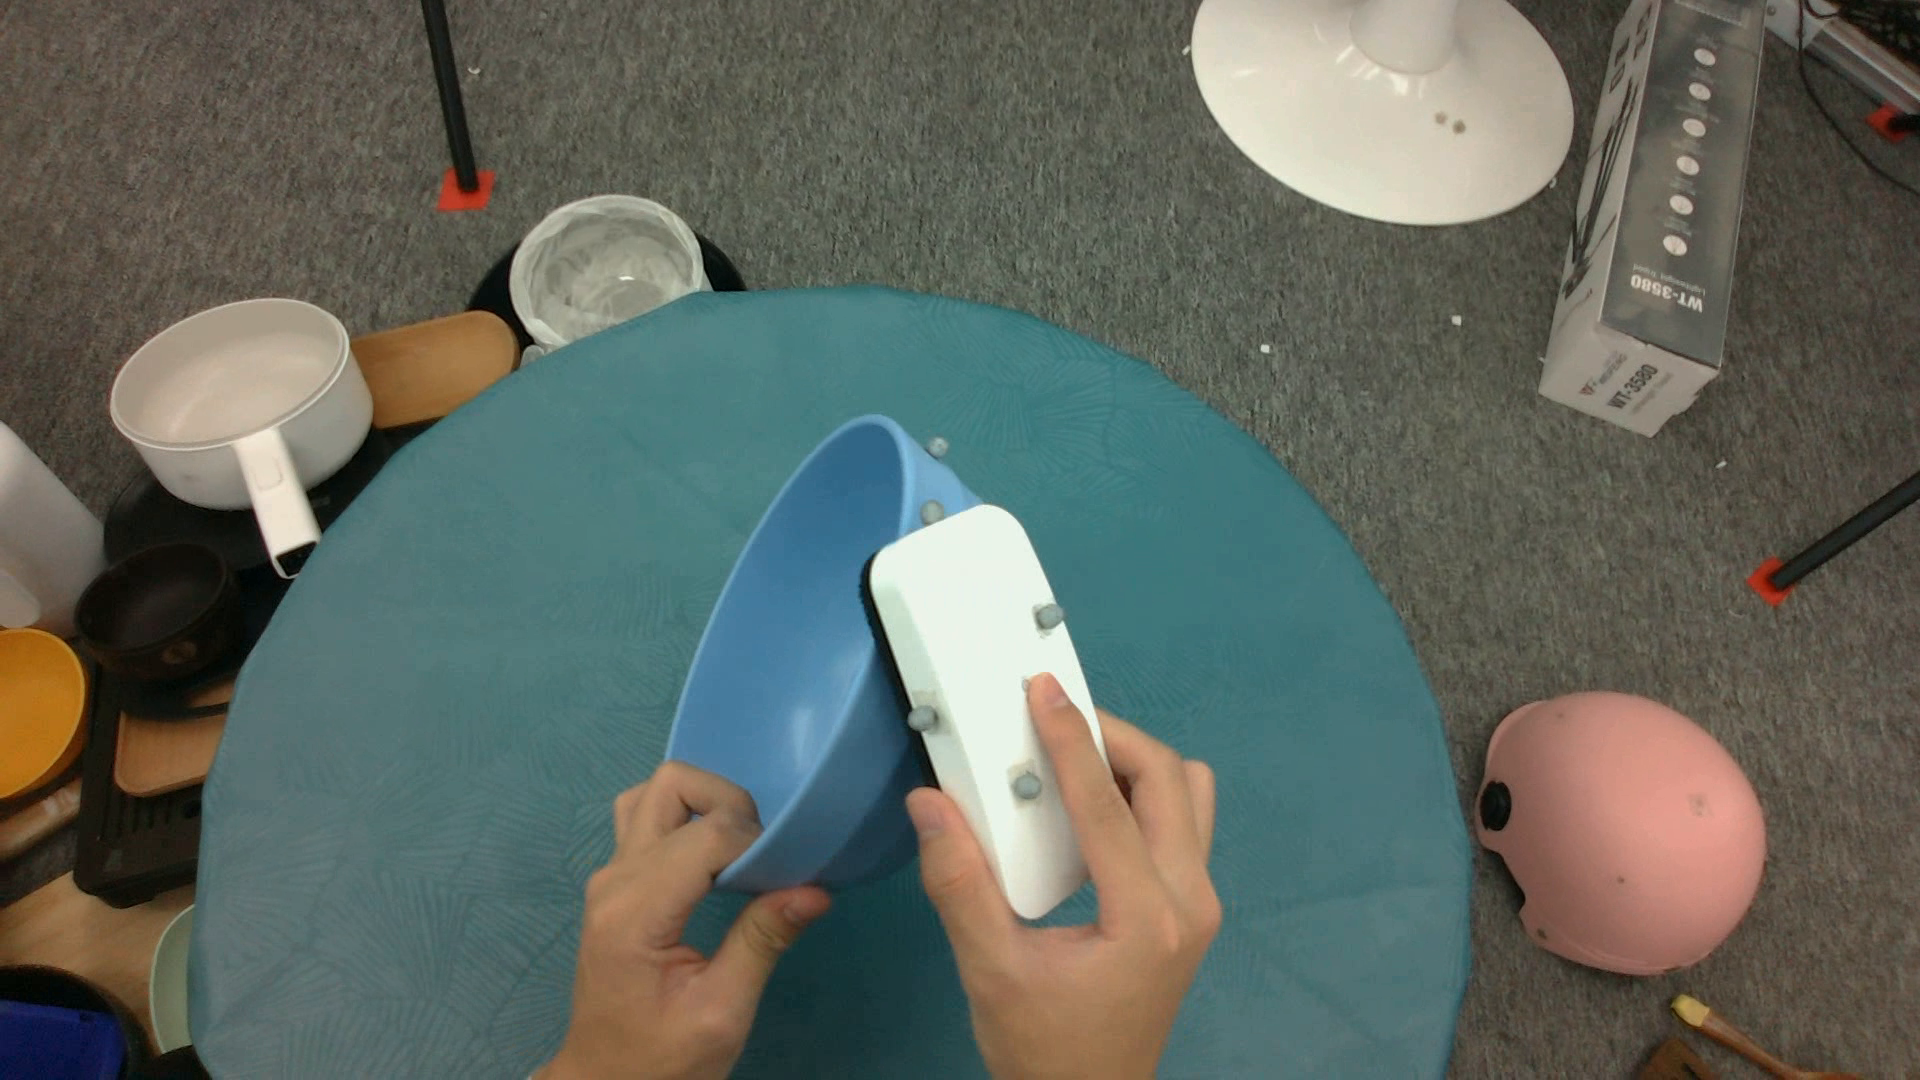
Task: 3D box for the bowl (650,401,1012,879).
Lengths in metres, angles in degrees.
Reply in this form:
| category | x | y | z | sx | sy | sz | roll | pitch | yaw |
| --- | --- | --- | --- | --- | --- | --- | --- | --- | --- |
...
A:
| category | x | y | z | sx | sy | sz | roll | pitch | yaw |
| --- | --- | --- | --- | --- | --- | --- | --- | --- | --- |
| bowl | -0.037 | 0.052 | 0.558 | 0.095 | 0.195 | 0.197 | 27 | 58 | -25 |

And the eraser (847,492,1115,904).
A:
| category | x | y | z | sx | sy | sz | roll | pitch | yaw |
| --- | --- | --- | --- | --- | --- | --- | --- | --- | --- |
| eraser | 0.008 | 0.052 | 0.454 | 0.063 | 0.034 | 0.131 | -23 | 95 | -44 |
